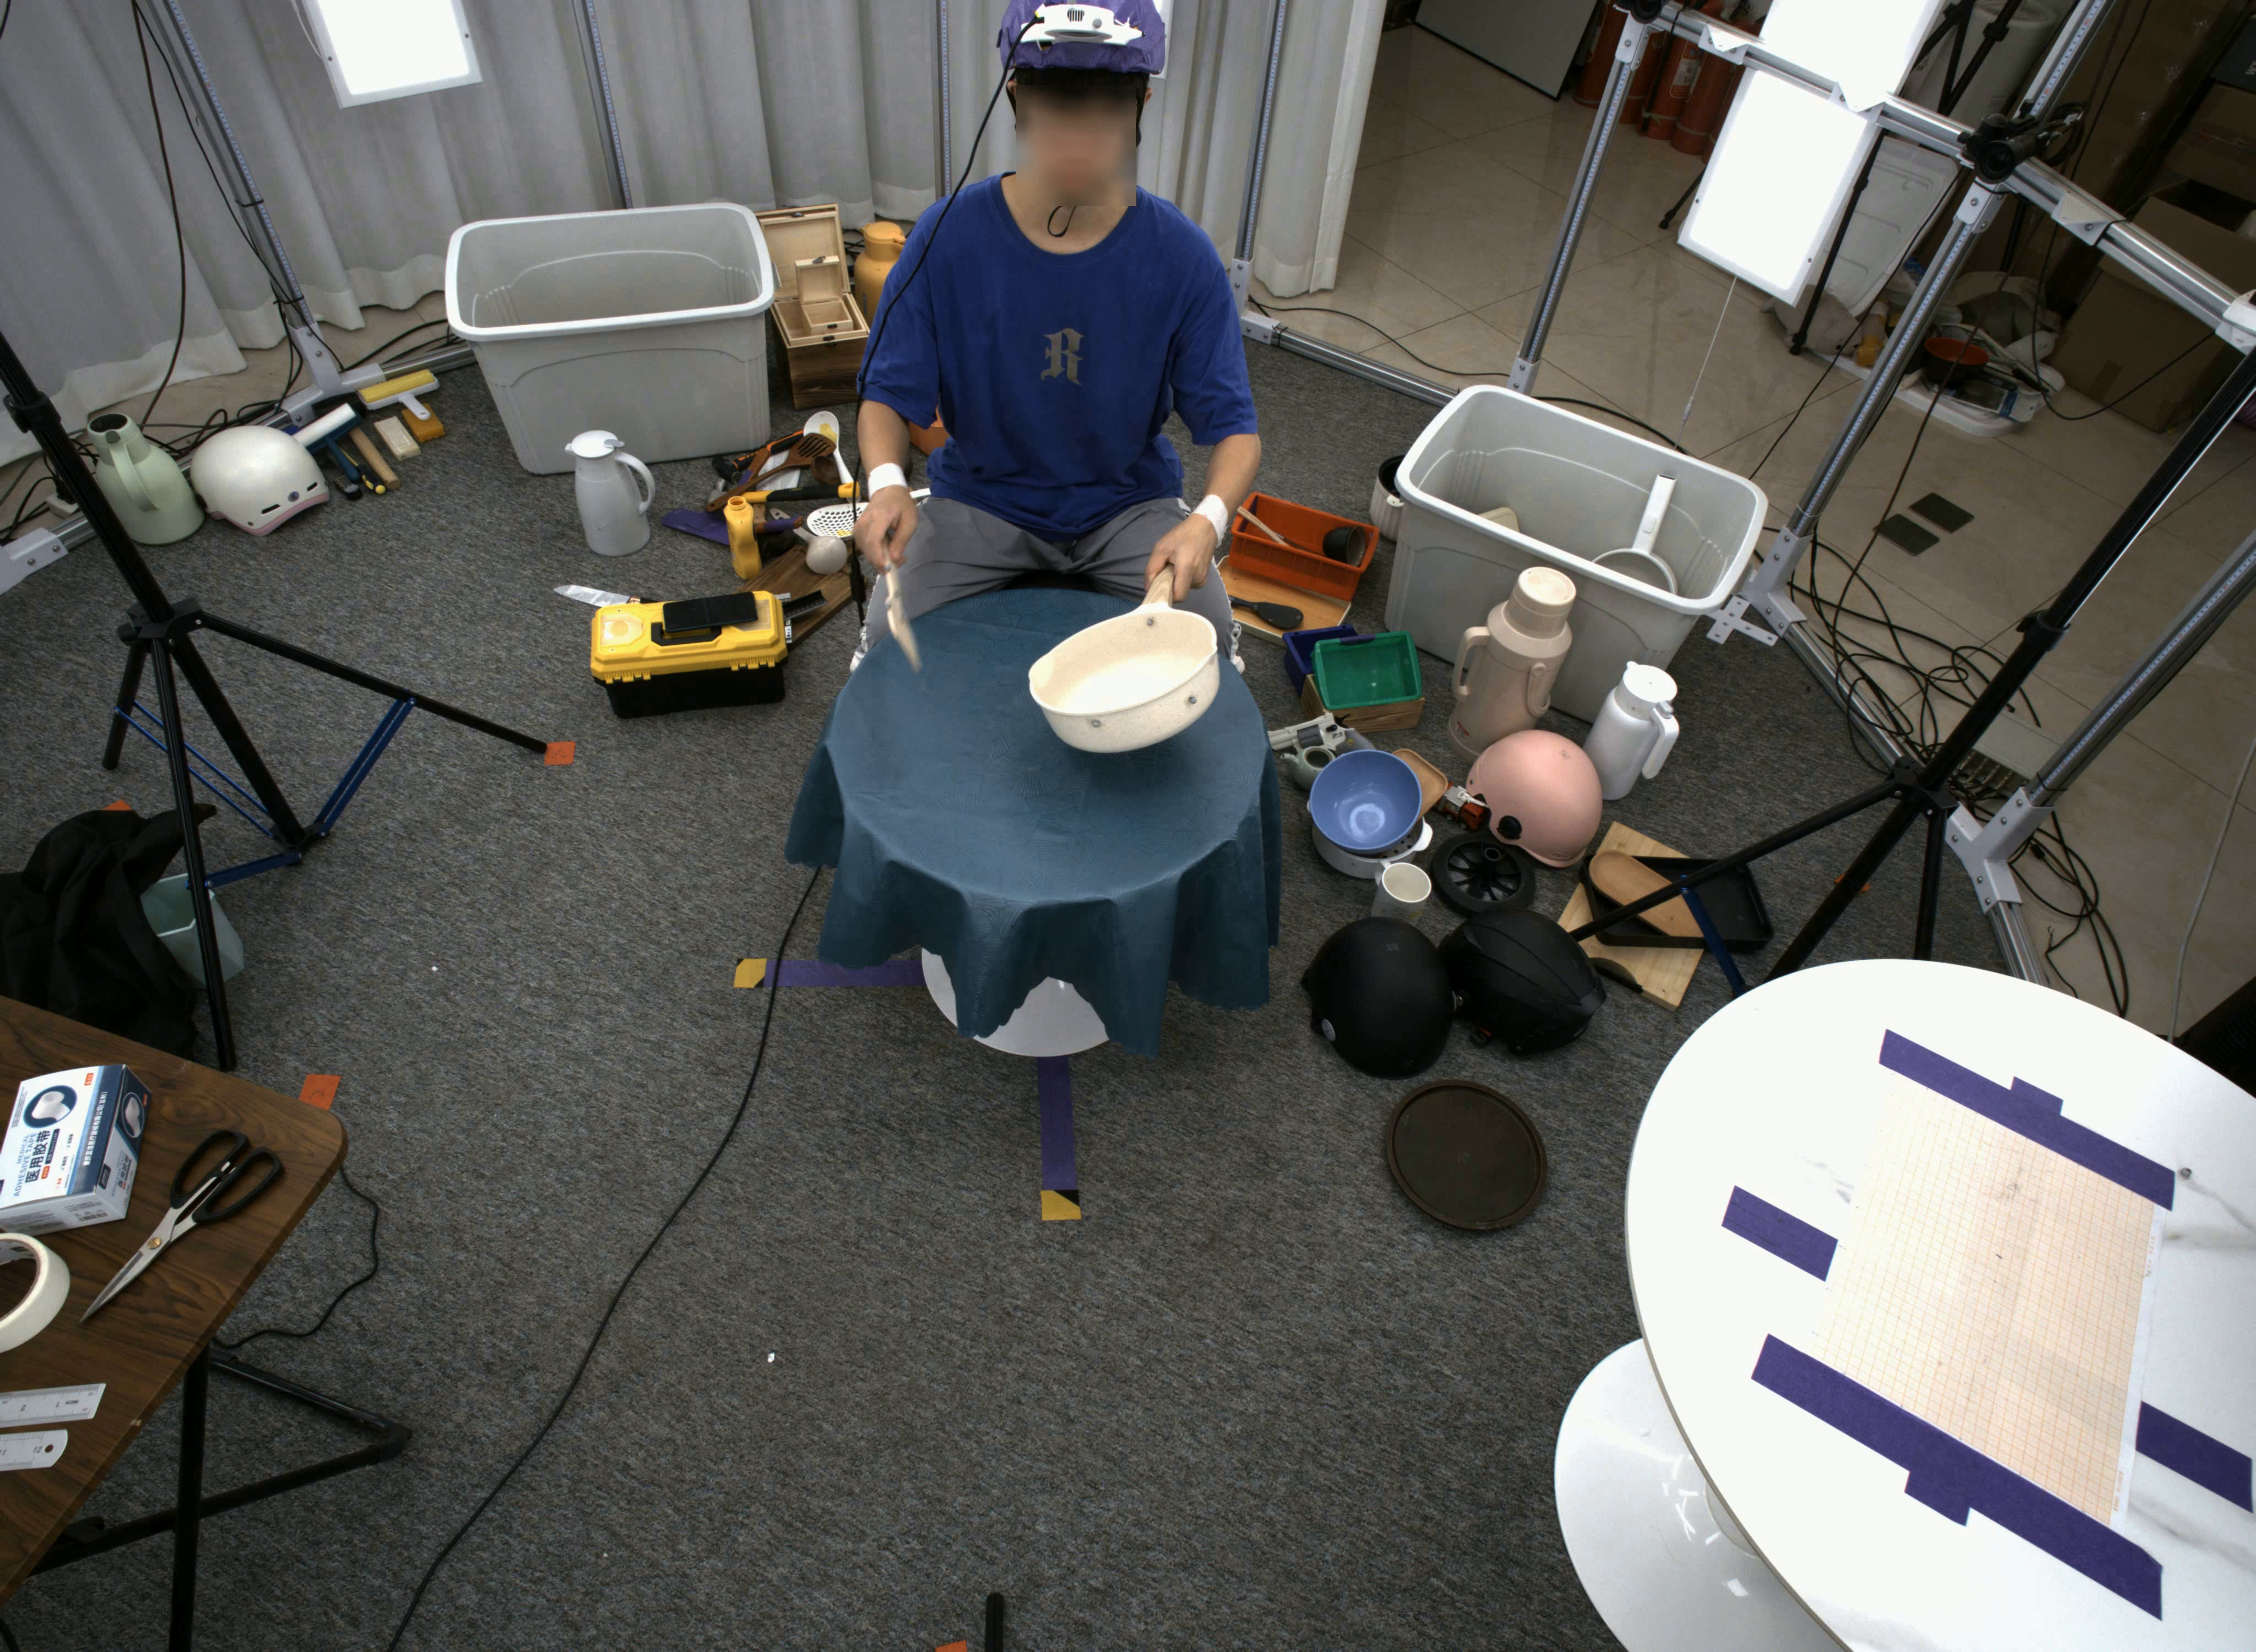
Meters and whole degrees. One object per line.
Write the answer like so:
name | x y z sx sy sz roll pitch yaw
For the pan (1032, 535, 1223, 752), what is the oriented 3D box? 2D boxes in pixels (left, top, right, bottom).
pan | 0.031 -0.251 1.747 0.264 0.100 0.444 -4 36 24

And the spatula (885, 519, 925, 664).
spatula | -0.309 -0.328 1.740 0.010 0.070 0.300 -28 45 12
